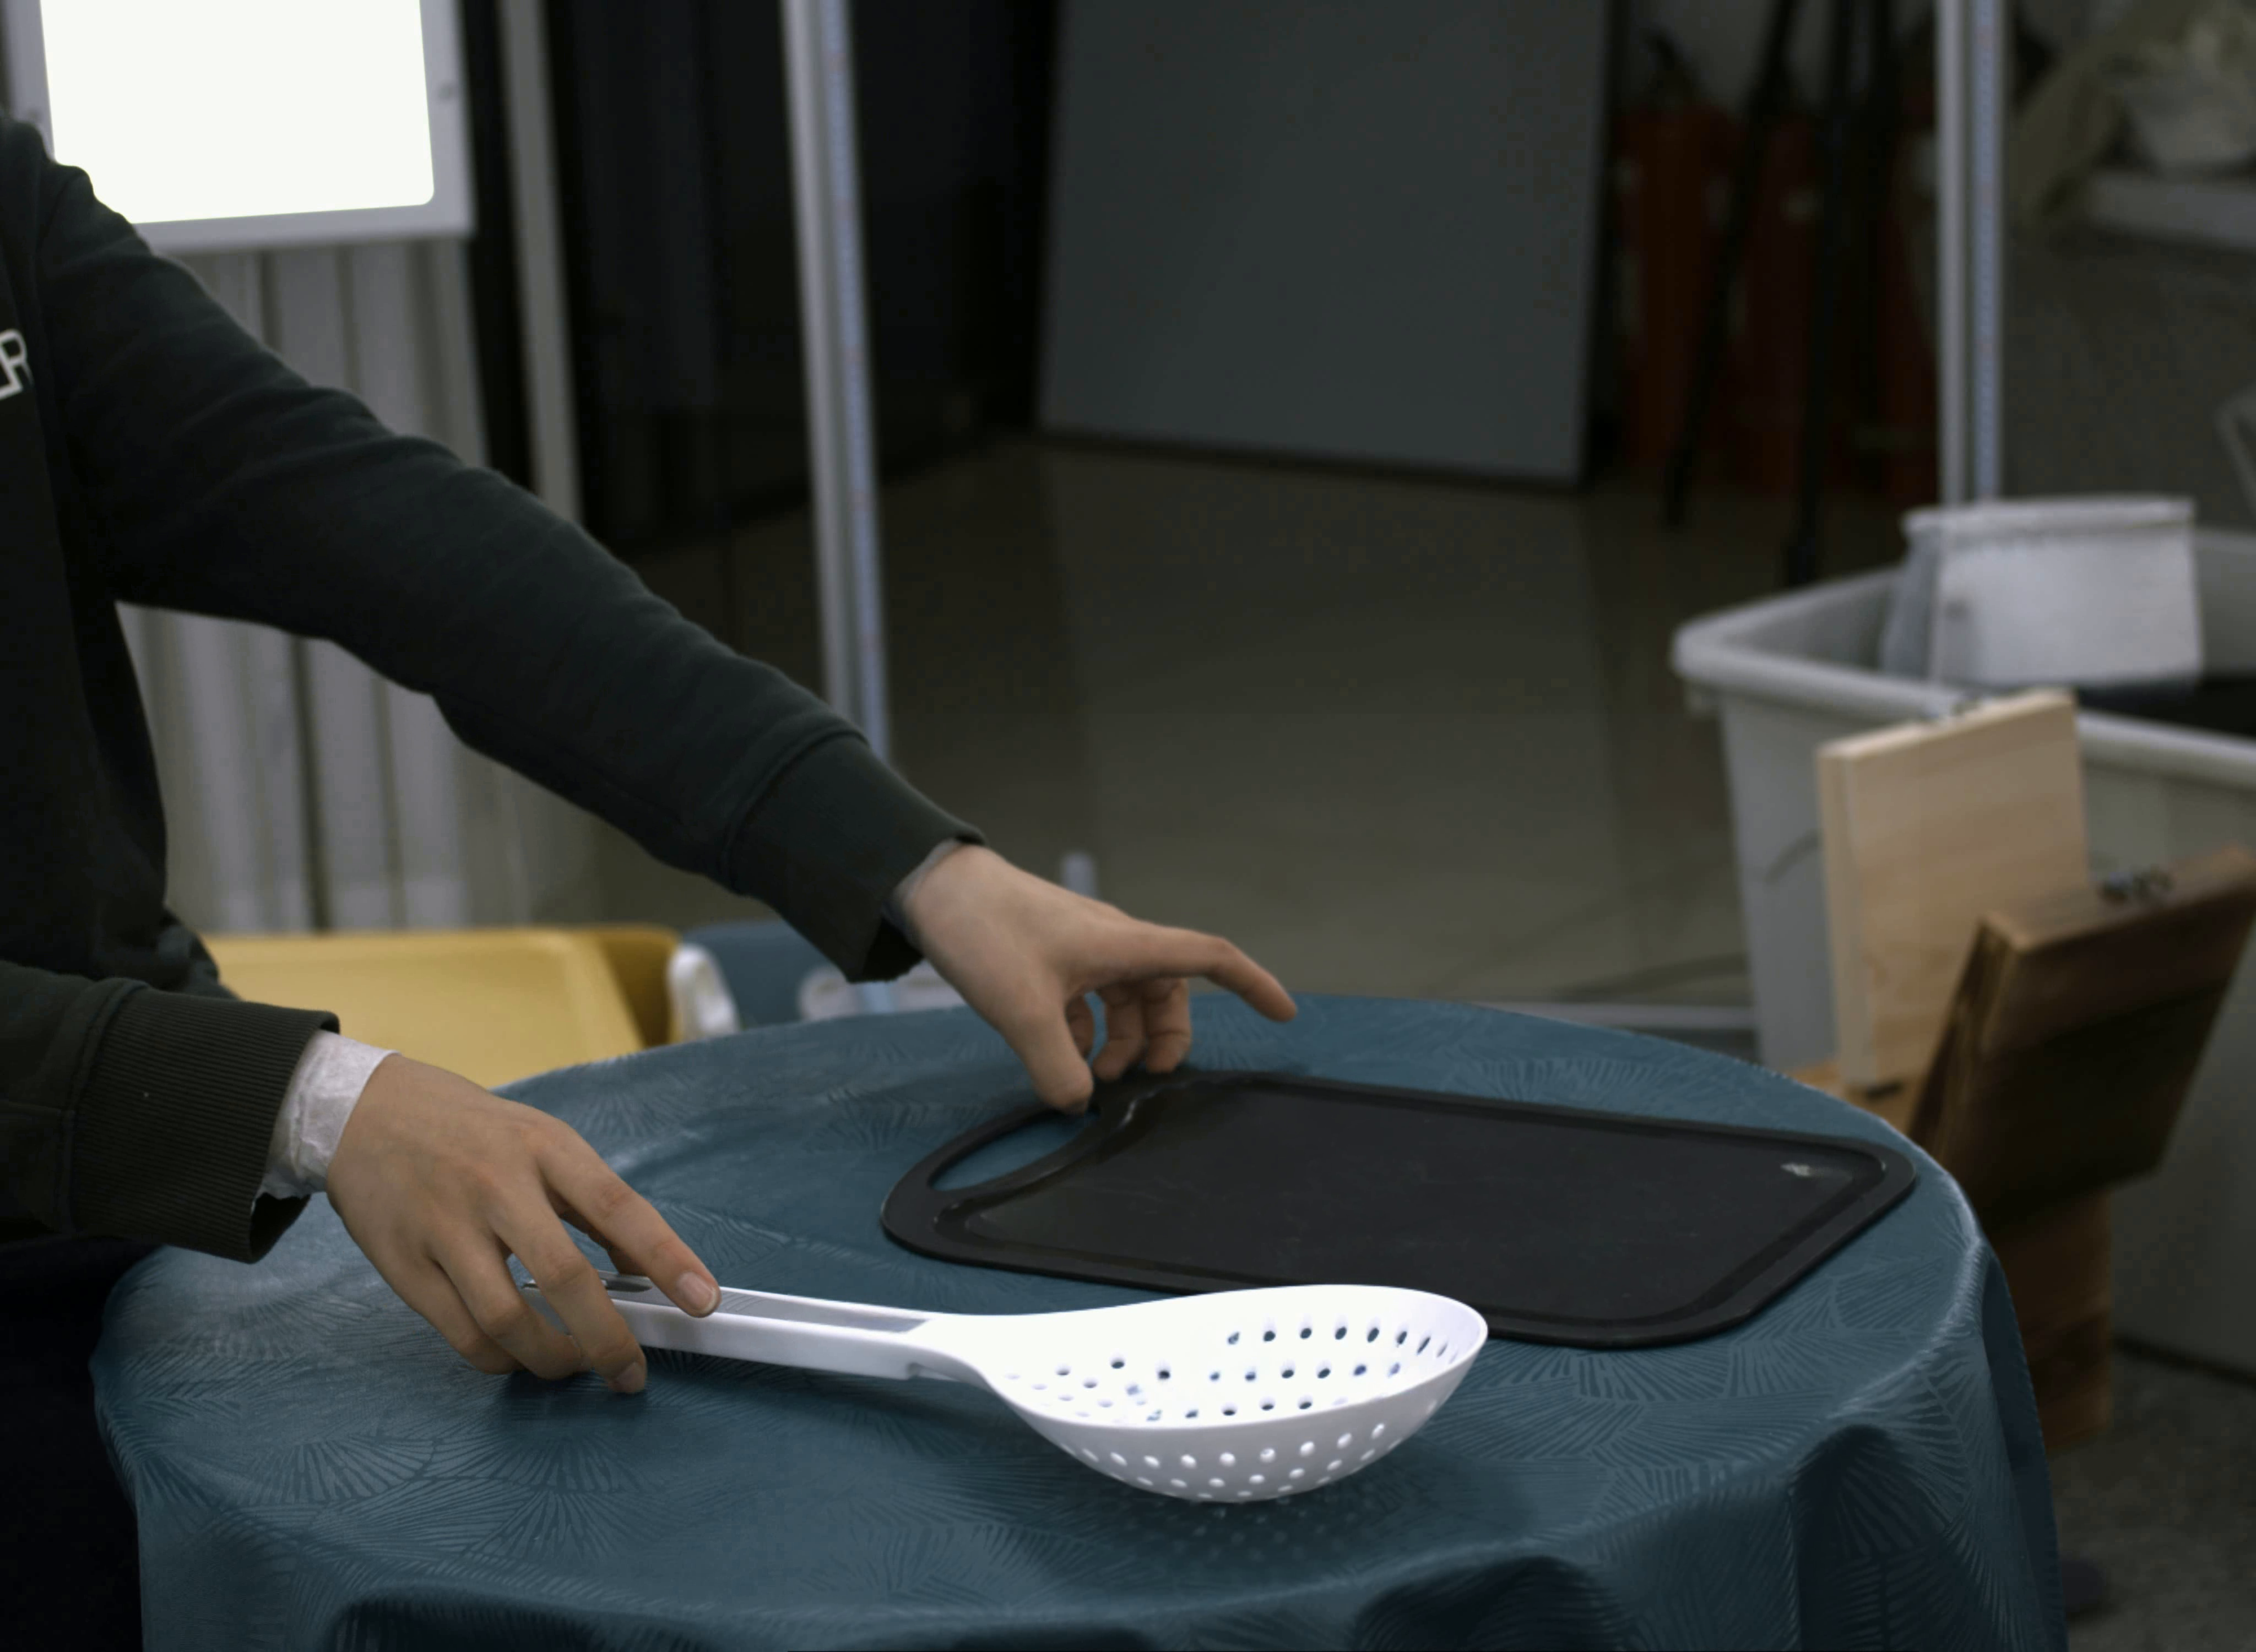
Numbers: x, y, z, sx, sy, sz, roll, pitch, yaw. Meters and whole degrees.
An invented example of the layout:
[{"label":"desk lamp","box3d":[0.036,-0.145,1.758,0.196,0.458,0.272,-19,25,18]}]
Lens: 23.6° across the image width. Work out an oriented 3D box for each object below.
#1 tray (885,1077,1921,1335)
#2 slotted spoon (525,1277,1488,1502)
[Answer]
[{"label":"tray","box3d":[0.081,0.119,1.743,0.327,0.010,0.208,4,16,32]},{"label":"slotted spoon","box3d":[-0.048,0.152,1.566,0.352,0.046,0.133,7,15,40]}]
